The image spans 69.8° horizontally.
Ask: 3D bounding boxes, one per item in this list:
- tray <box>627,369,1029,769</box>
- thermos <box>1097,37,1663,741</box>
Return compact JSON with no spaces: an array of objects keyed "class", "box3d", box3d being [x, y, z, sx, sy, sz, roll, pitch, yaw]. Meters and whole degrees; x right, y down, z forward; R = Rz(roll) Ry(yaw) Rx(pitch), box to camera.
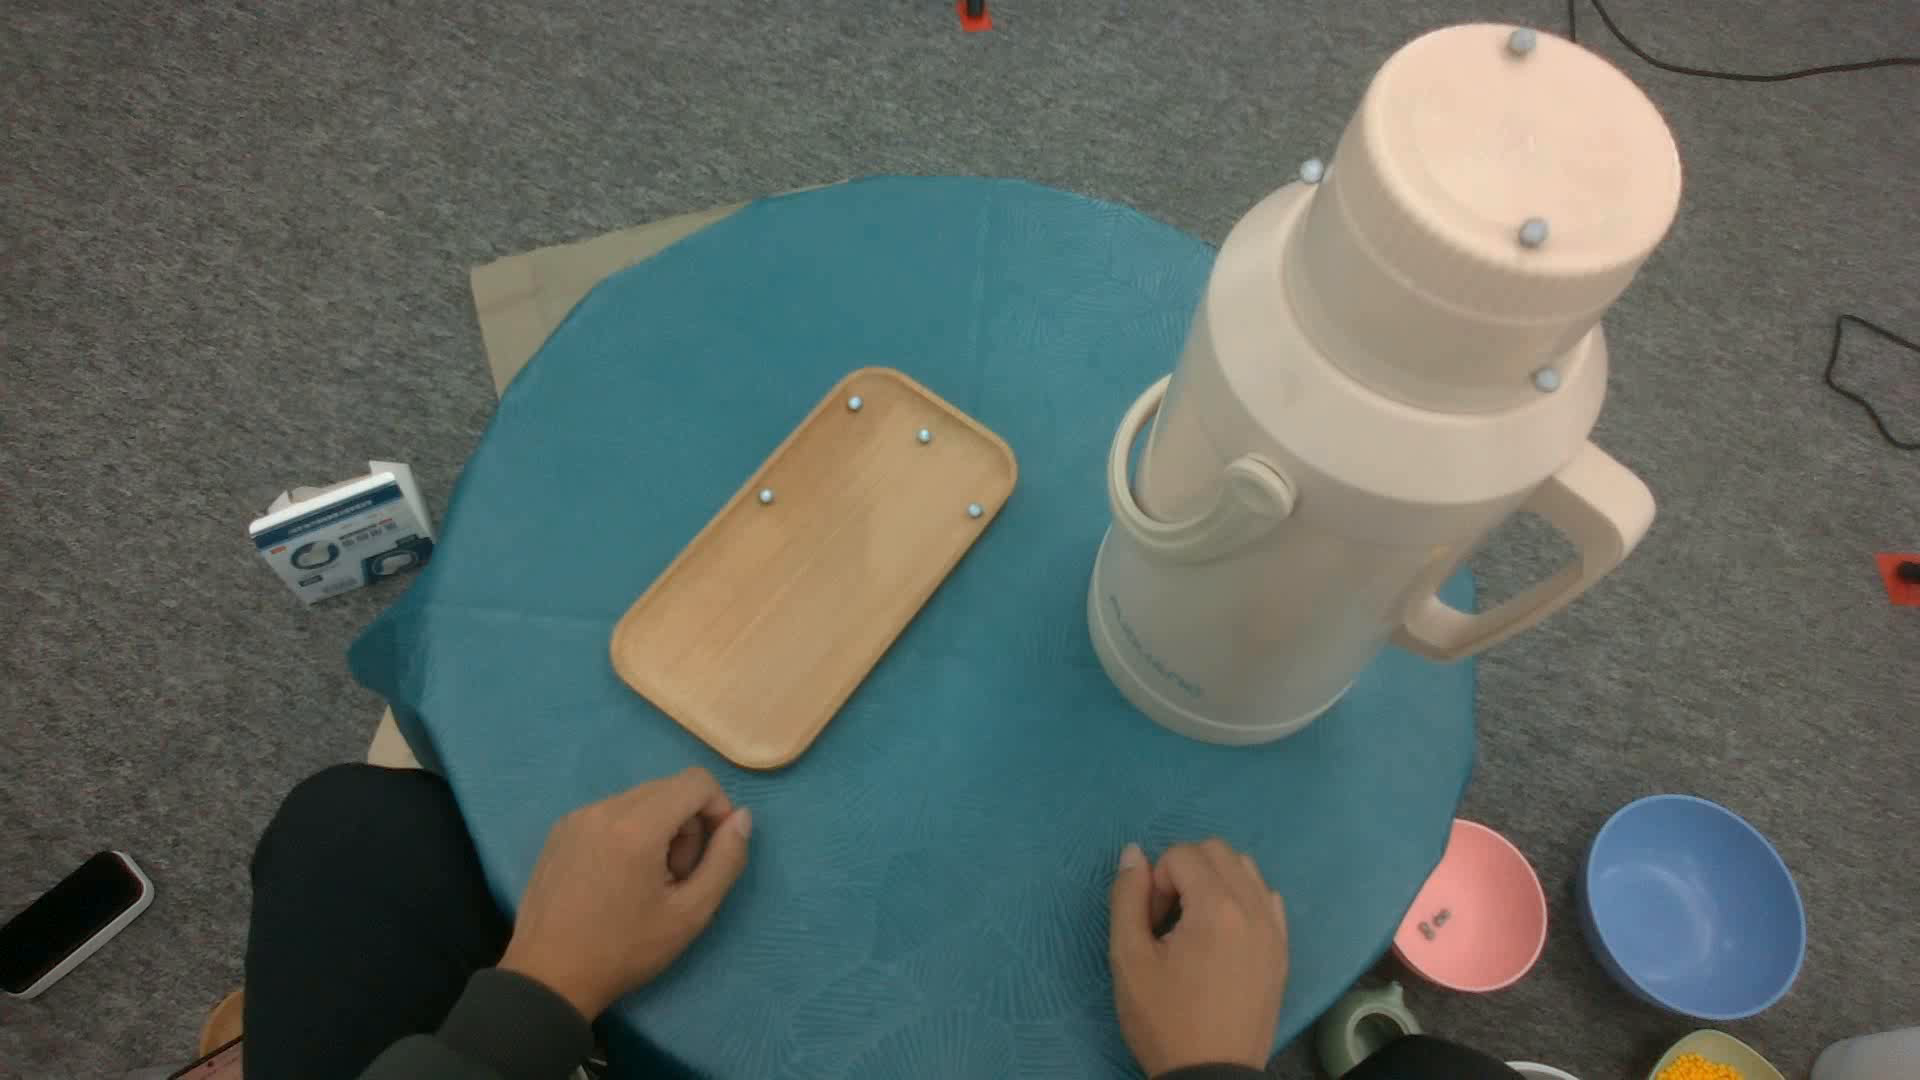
[{"class":"tray","box3d":[-0.072,0.011,0.802,0.130,0.023,0.251,34,67,15]},{"class":"thermos","box3d":[0.180,-0.032,0.630,0.207,0.404,0.176,40,67,15]}]
